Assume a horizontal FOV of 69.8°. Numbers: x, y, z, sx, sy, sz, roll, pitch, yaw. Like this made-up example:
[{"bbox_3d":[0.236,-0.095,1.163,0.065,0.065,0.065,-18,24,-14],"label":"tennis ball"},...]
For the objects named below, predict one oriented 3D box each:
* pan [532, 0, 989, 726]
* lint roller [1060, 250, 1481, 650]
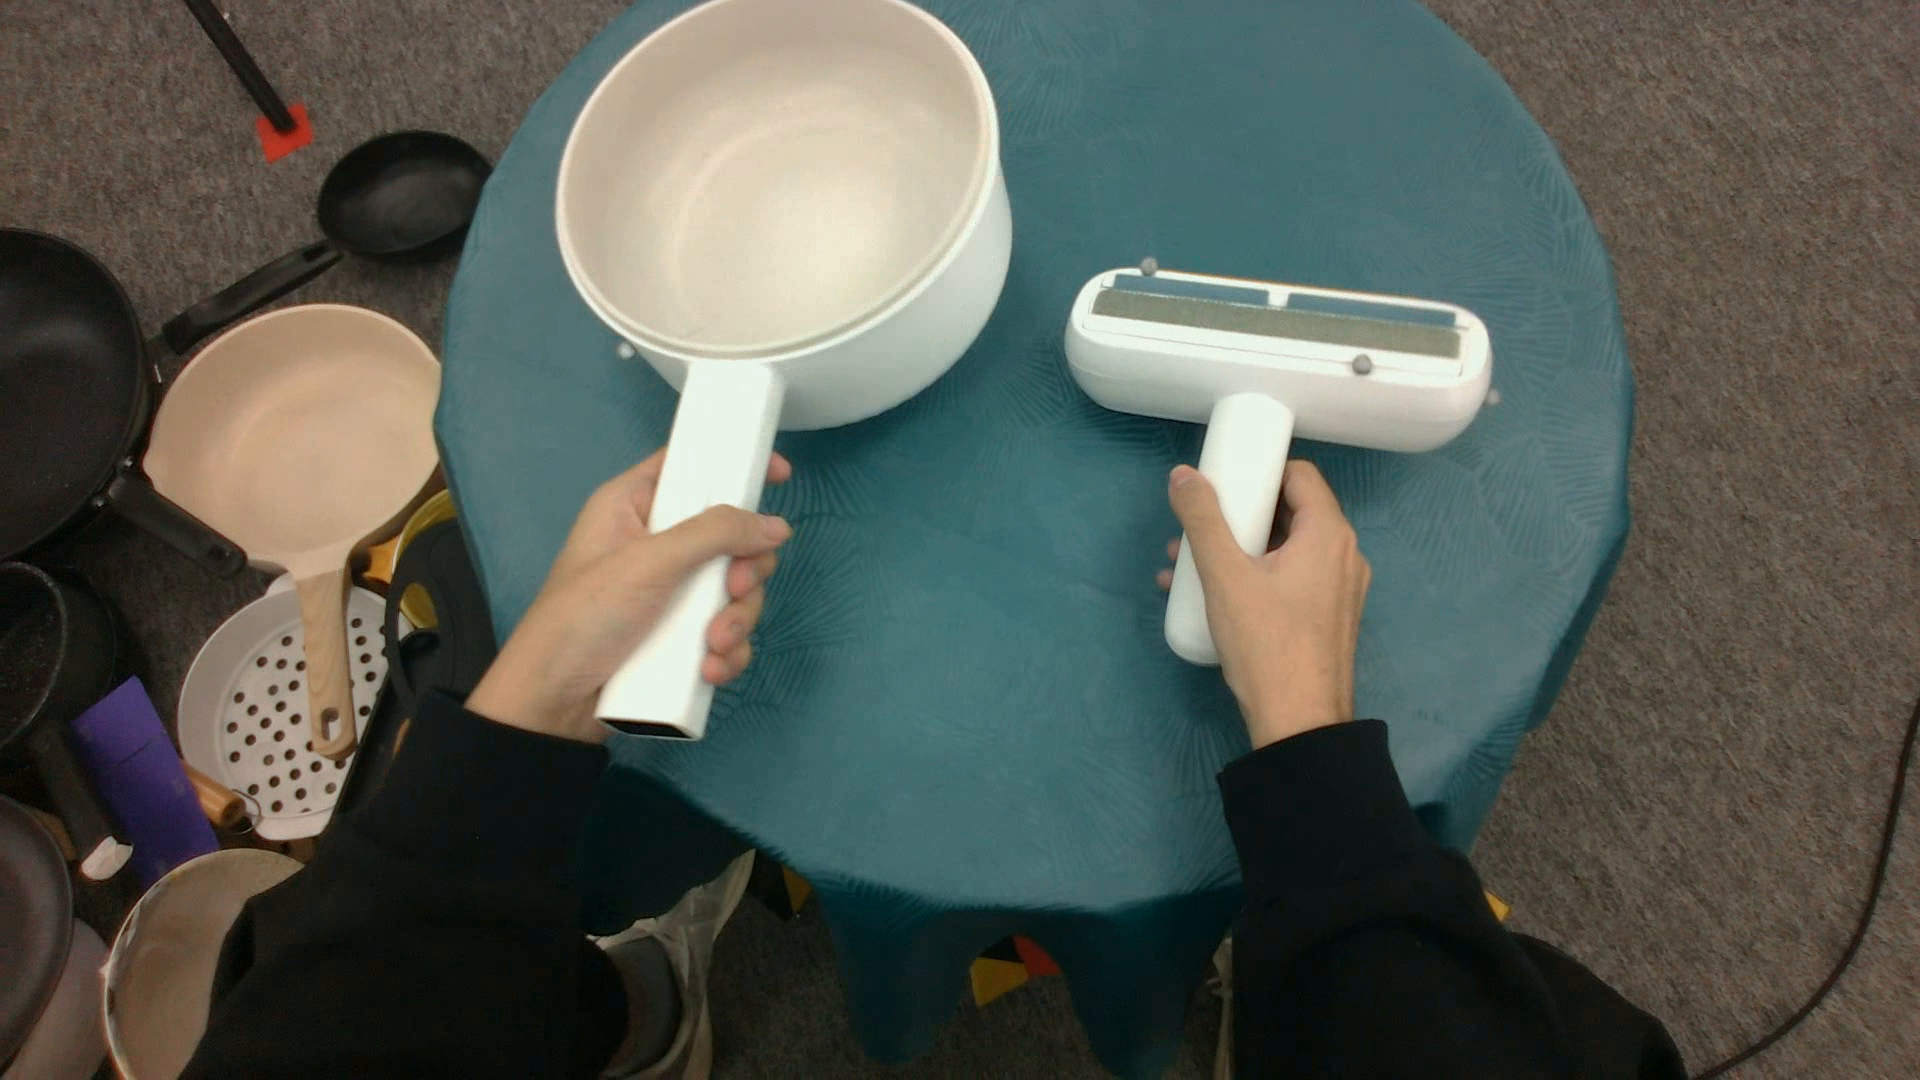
[{"bbox_3d":[-0.096,-0.086,0.620,0.201,0.102,0.356,2,70,14],"label":"pan"},{"bbox_3d":[0.122,-0.043,0.623,0.193,0.074,0.193,15,60,15],"label":"lint roller"}]
